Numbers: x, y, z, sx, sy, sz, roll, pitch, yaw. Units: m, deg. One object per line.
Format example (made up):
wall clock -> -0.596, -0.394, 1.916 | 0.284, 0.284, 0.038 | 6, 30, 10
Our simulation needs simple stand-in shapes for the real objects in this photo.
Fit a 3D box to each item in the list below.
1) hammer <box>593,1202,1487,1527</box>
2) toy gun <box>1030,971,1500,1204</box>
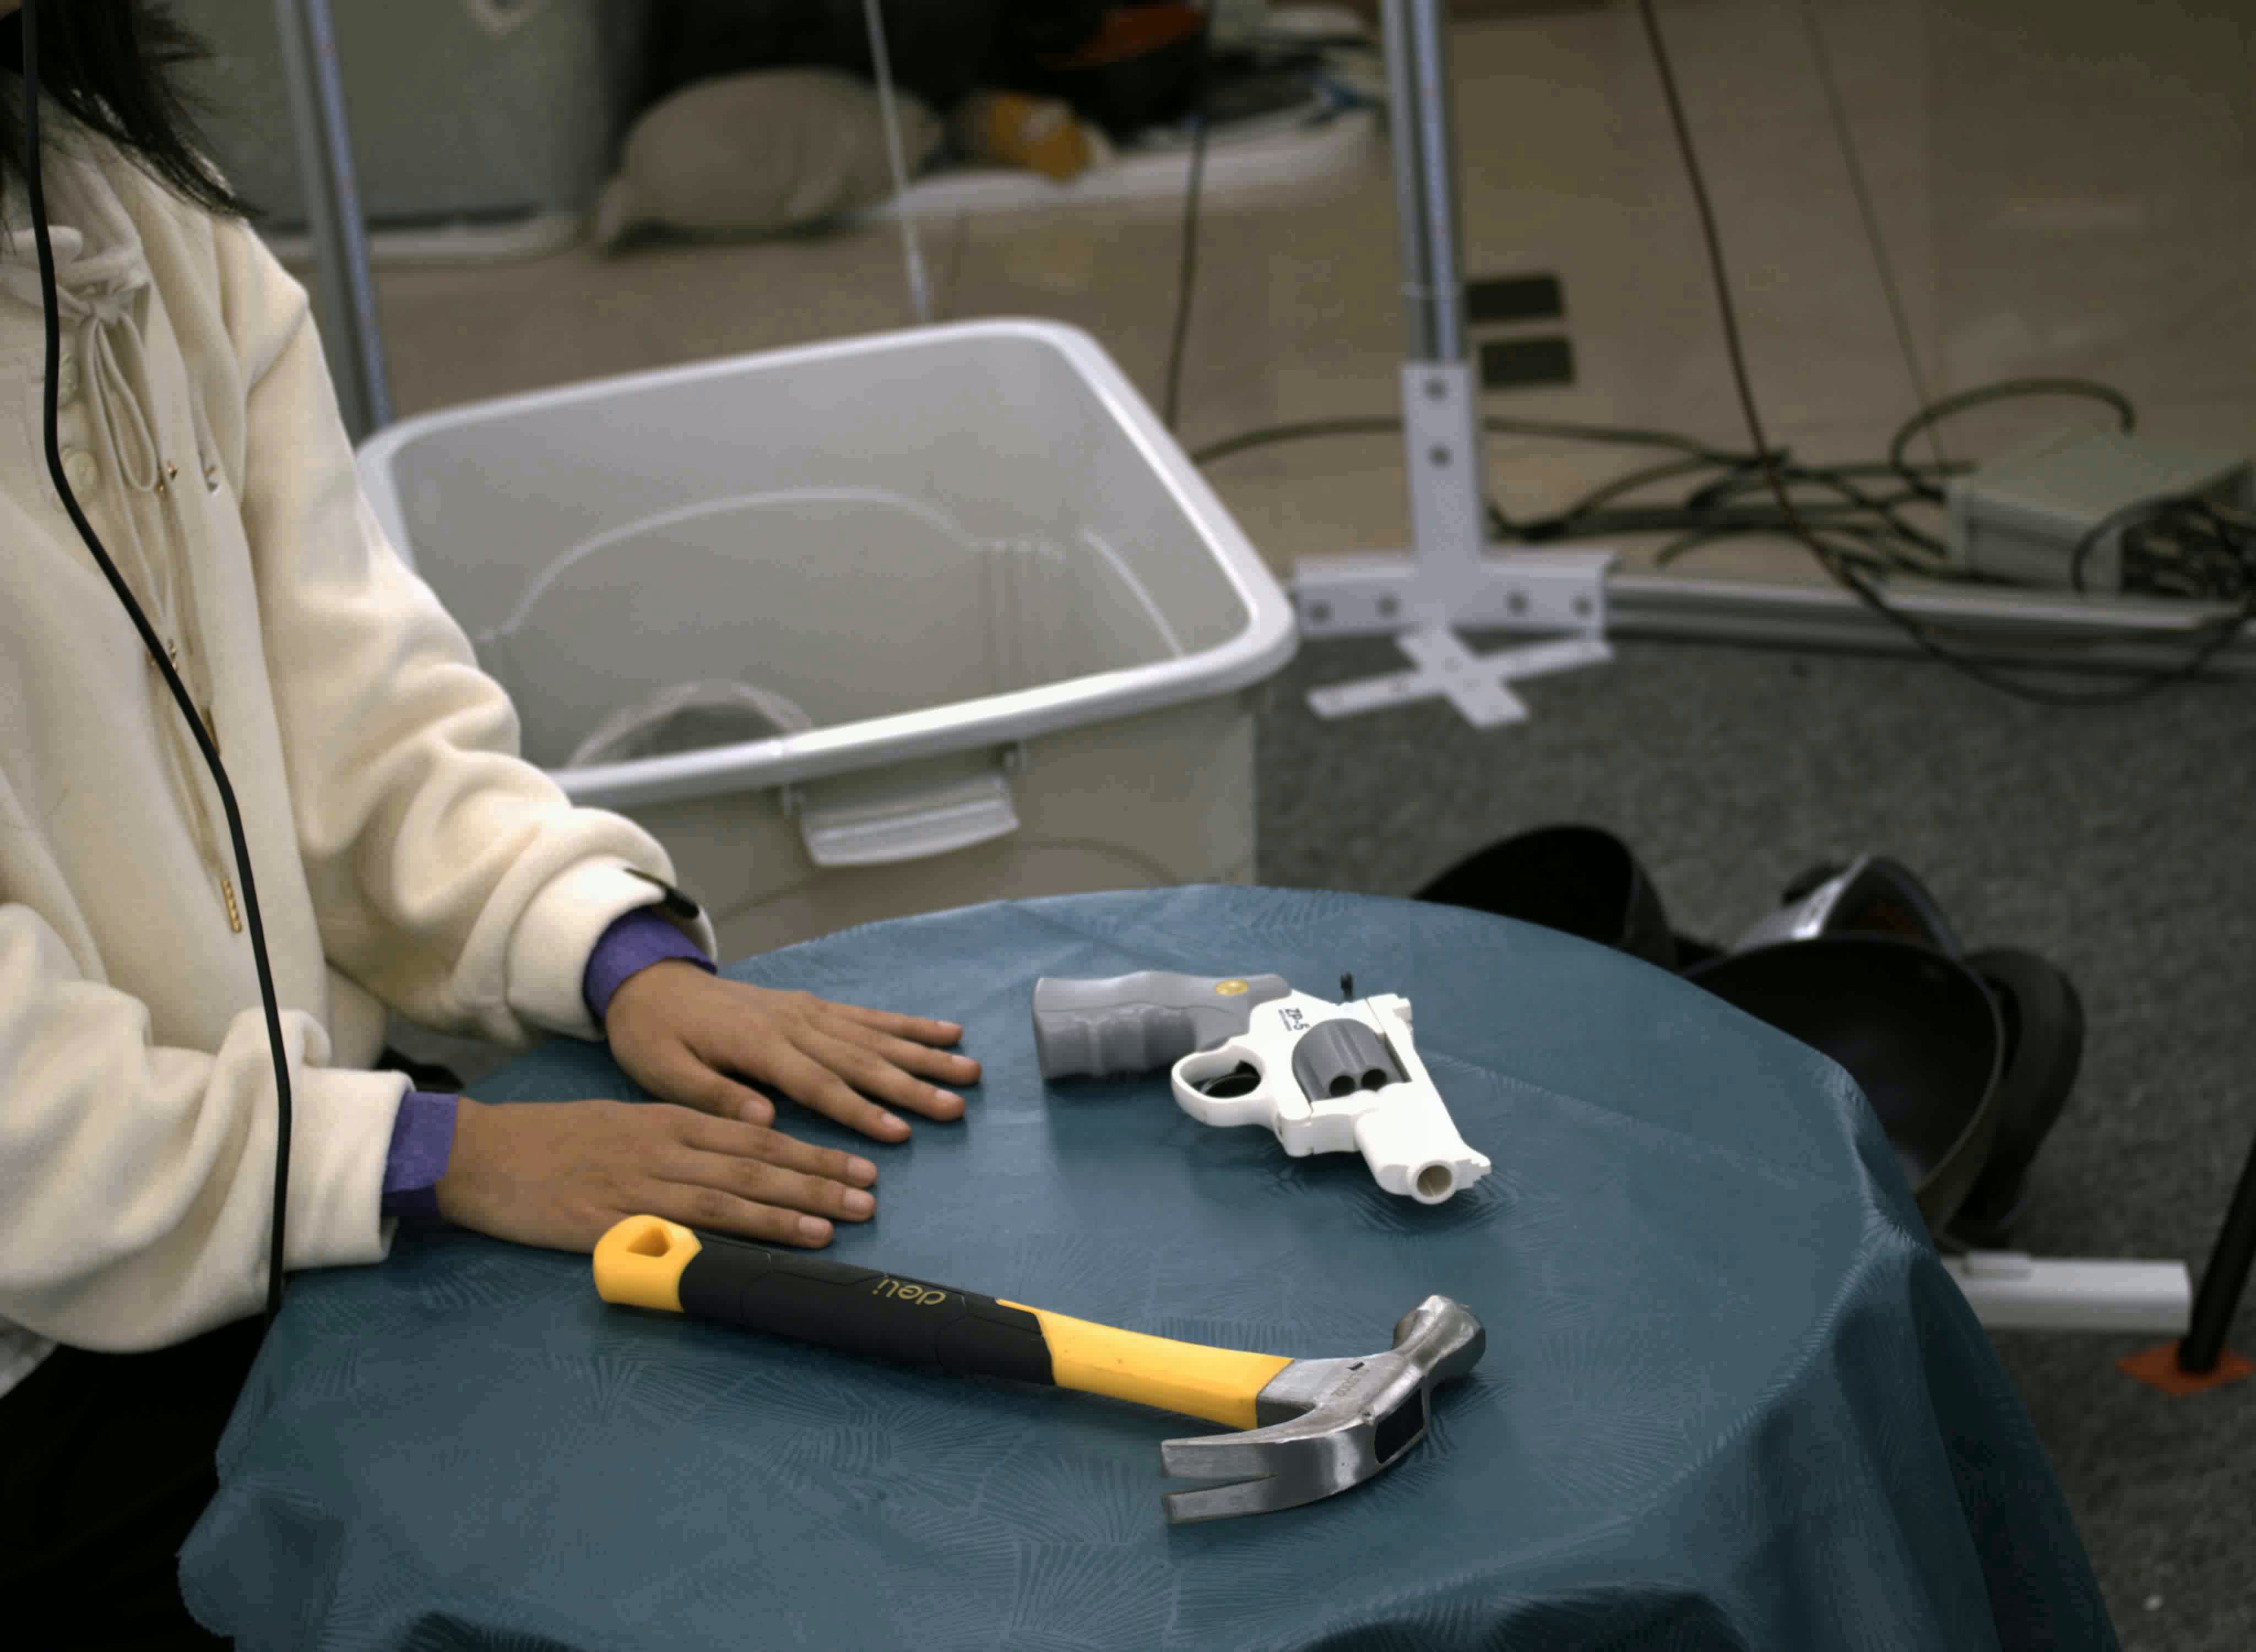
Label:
hammer -> -0.049, 0.179, 2.030 | 0.337, 0.033, 0.130 | 10, 32, 30
toy gun -> 0.048, 0.098, 2.176 | 0.141, 0.039, 0.206 | -10, 25, -10
